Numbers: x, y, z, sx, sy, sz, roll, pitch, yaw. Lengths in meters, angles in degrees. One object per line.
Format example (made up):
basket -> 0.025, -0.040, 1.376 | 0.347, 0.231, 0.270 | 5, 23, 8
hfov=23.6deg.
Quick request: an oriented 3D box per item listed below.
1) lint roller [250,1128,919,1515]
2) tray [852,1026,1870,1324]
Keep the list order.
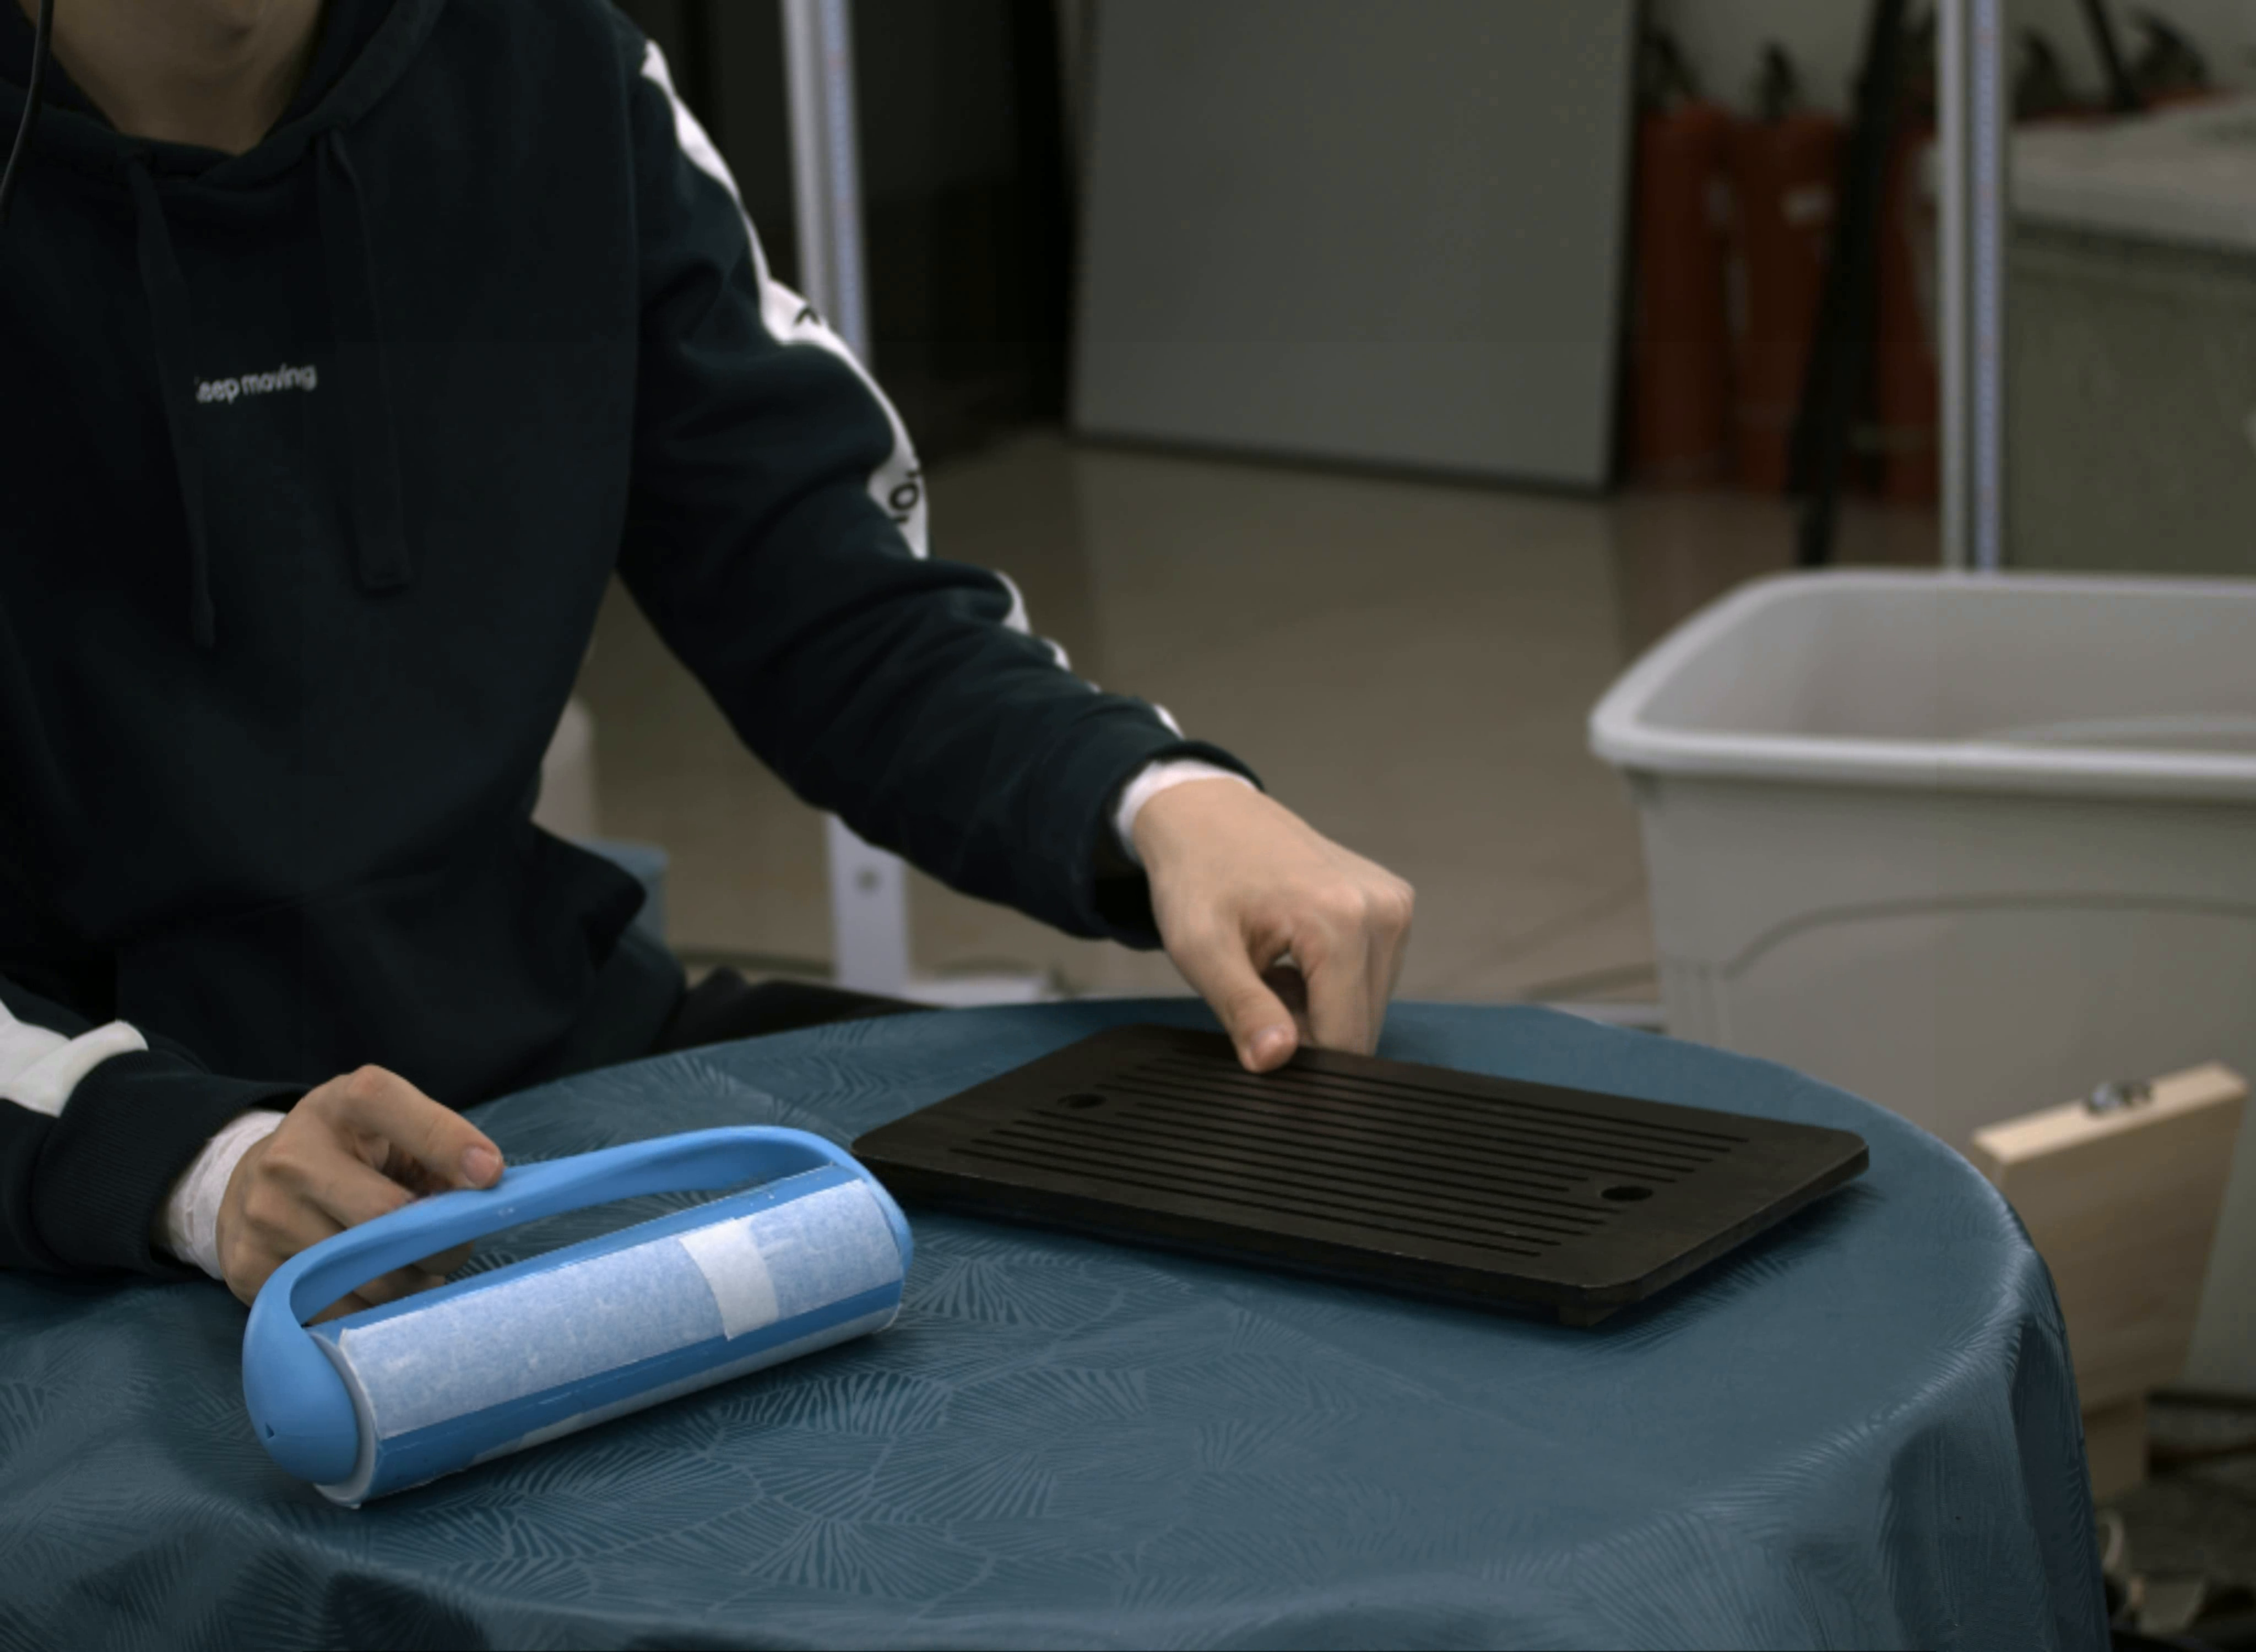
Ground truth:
lint roller -> -0.194, 0.138, 1.636 | 0.224, 0.068, 0.182 | -18, 21, -39
tray -> 0.074, 0.111, 1.753 | 0.308, 0.019, 0.167 | 6, 18, 37
